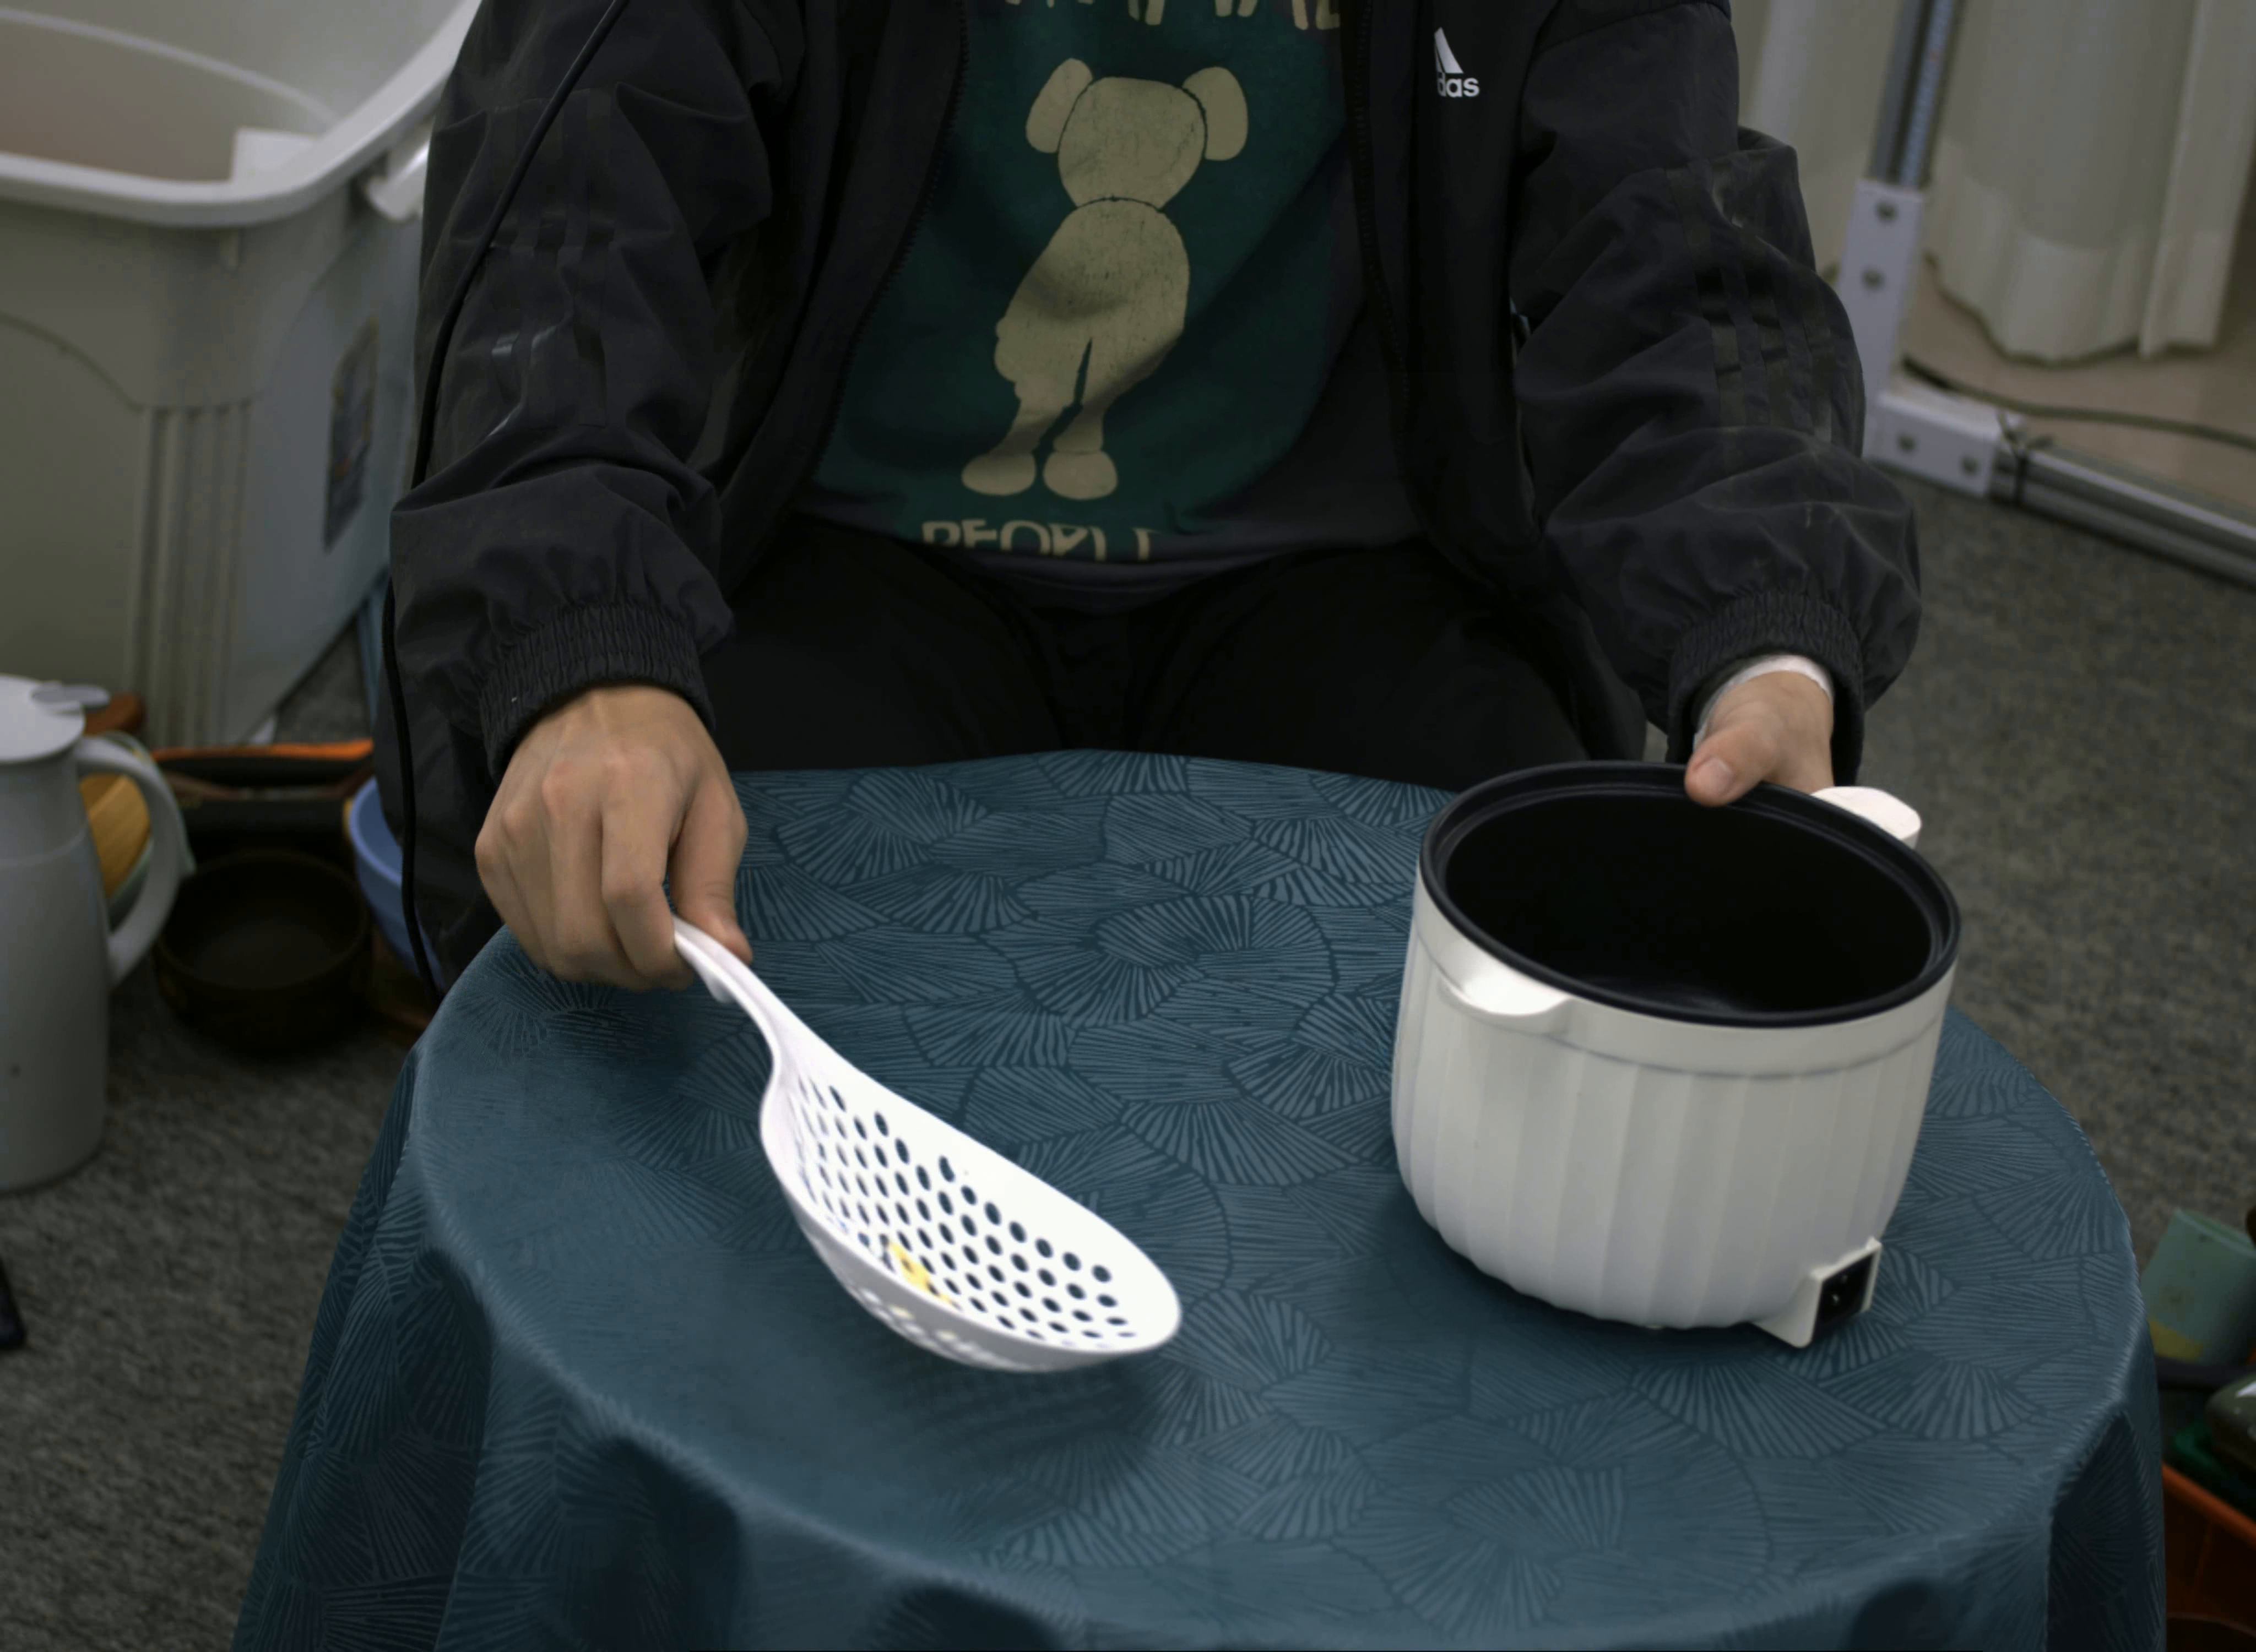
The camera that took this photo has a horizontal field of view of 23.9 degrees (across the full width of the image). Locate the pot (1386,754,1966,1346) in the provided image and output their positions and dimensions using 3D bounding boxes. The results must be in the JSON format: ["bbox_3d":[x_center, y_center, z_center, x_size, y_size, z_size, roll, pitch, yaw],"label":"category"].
[{"bbox_3d":[0.174,0.075,1.786,0.192,0.142,0.239,30,34,33],"label":"pot"}]

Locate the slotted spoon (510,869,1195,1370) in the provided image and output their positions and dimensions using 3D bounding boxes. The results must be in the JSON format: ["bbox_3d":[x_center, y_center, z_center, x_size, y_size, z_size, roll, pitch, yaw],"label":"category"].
[{"bbox_3d":[-0.109,0.087,1.762,0.135,0.050,0.351,7,26,-40],"label":"slotted spoon"}]
